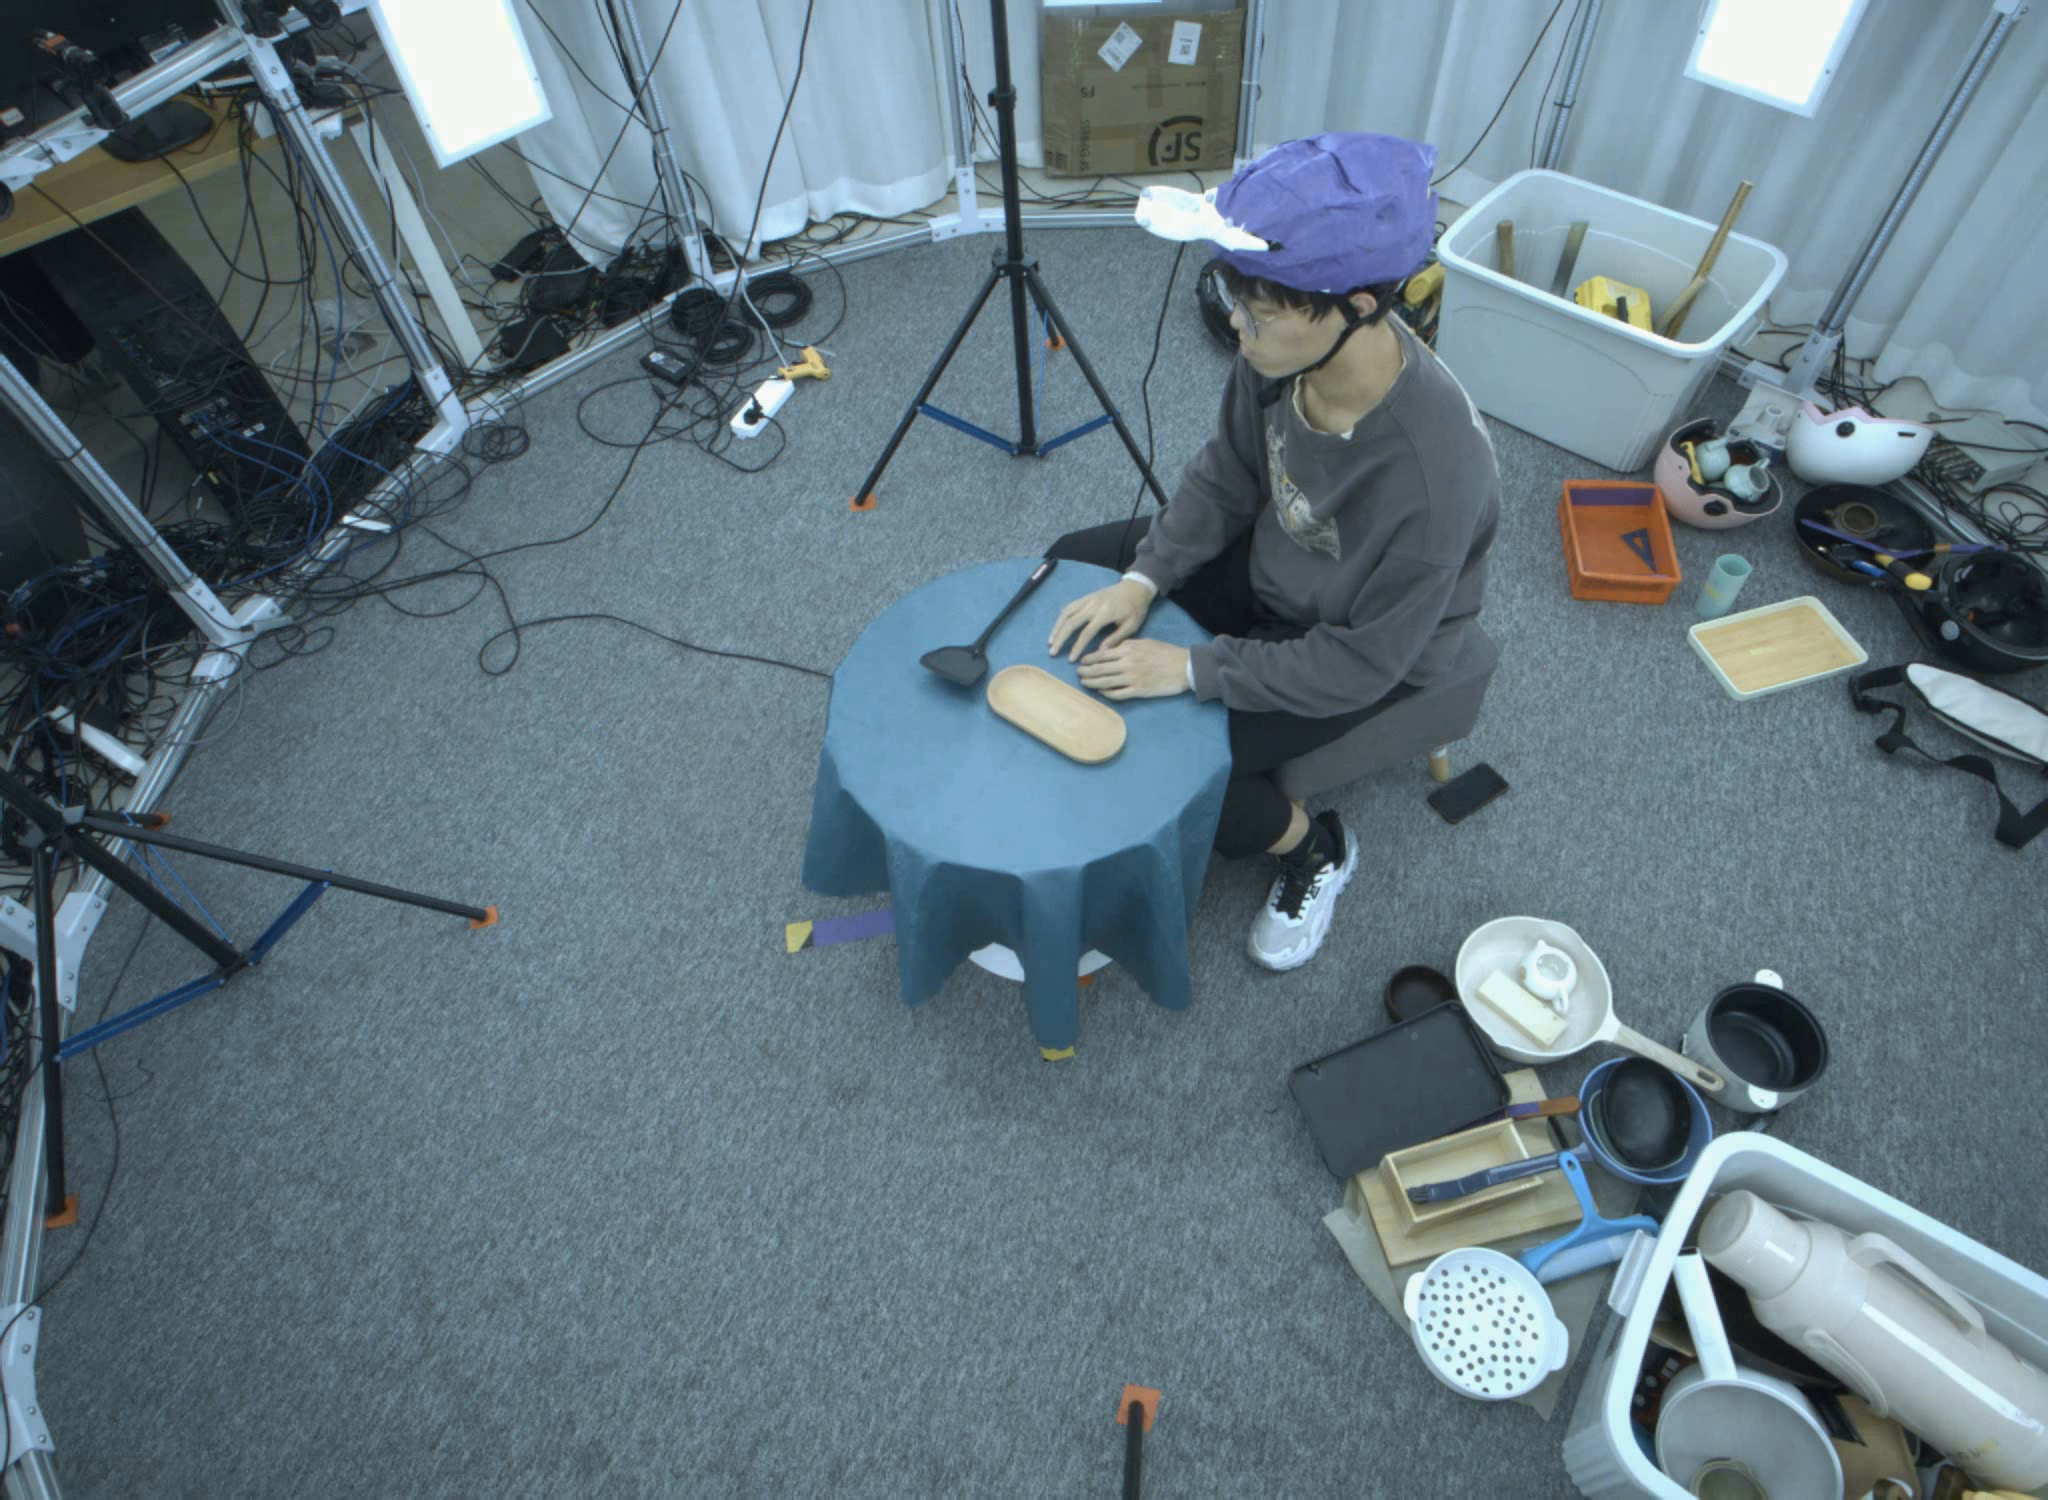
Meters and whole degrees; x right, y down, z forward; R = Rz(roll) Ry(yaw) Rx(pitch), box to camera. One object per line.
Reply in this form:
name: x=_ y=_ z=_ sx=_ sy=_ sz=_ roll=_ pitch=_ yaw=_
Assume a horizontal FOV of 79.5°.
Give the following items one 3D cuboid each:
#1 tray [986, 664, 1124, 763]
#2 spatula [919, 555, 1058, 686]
tray: x=0.045 y=-0.055 z=1.813 sx=0.227 sy=0.020 sz=0.102 roll=31 pitch=60 yaw=23
spatula: x=-0.036 y=-0.213 z=1.917 sx=0.098 sy=0.041 sz=0.327 roll=27 pitch=59 yaw=18
